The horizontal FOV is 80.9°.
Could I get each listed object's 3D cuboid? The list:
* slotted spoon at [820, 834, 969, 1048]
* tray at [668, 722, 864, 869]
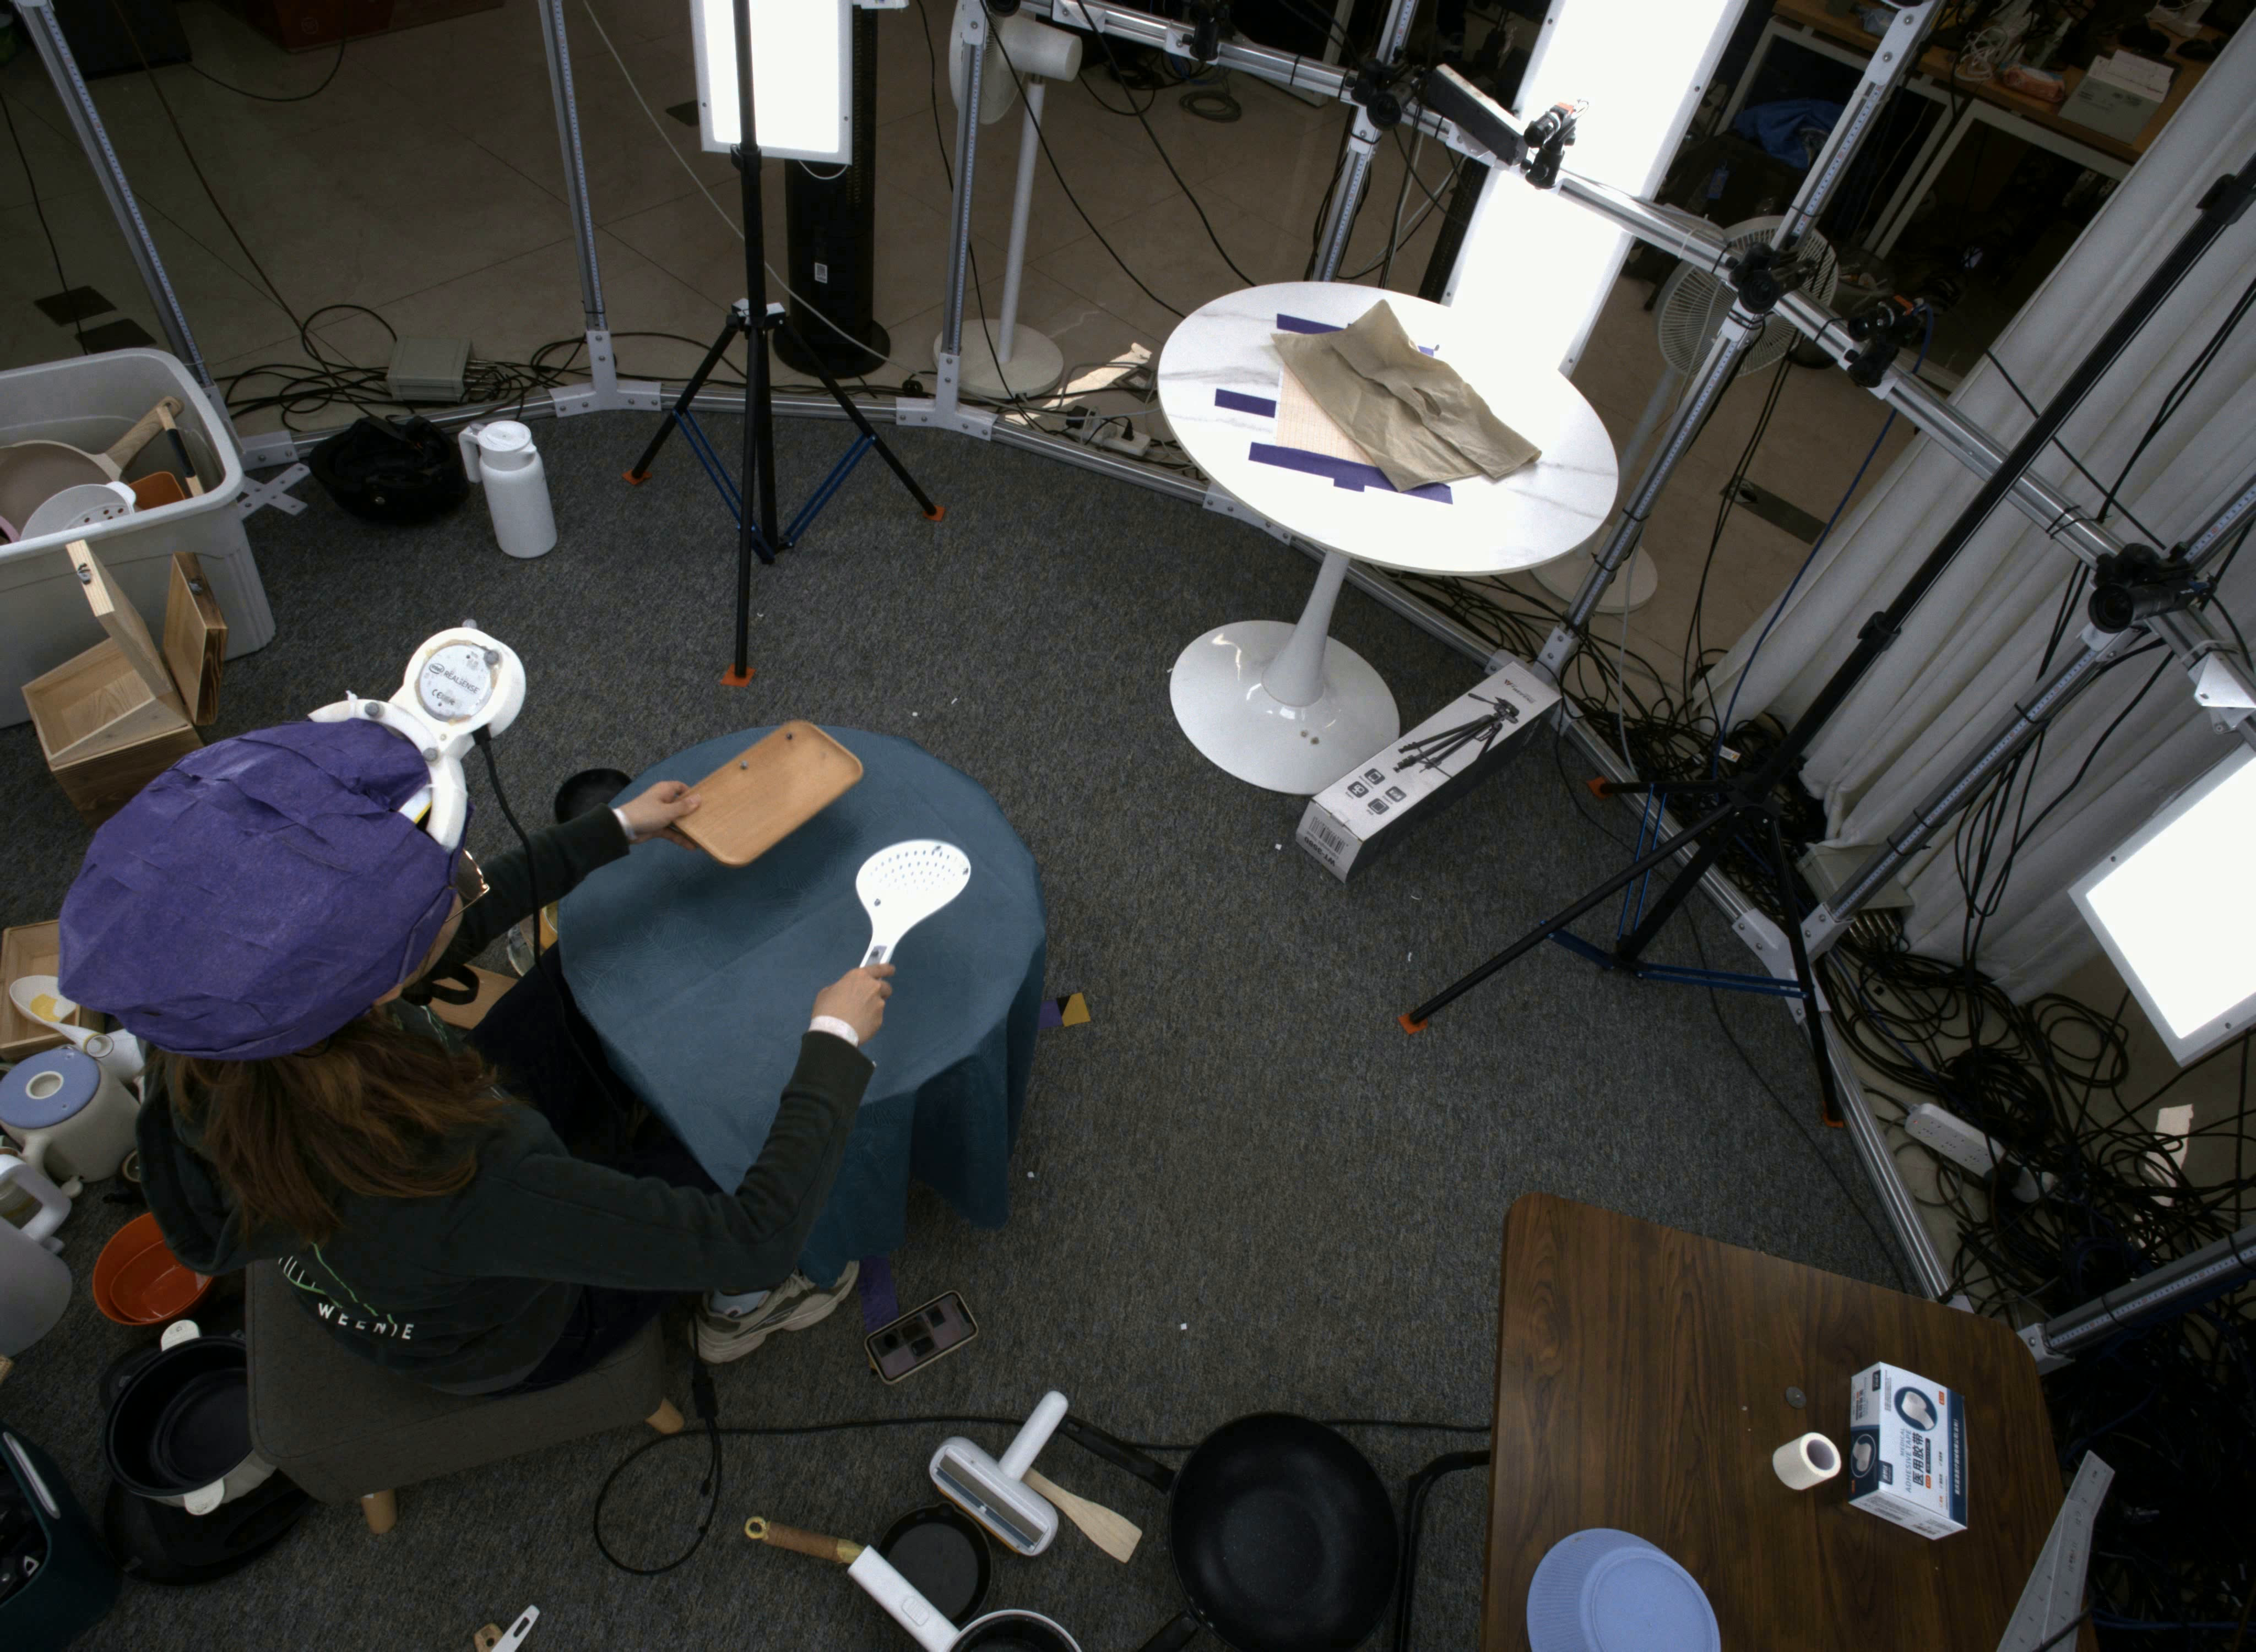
[{"bbox_3d":[-0.276,0.120,1.483,0.133,0.047,0.345,4,33,10],"label":"slotted spoon"},{"bbox_3d":[-0.453,-0.042,1.632,0.128,0.023,0.250,37,47,10],"label":"tray"}]
